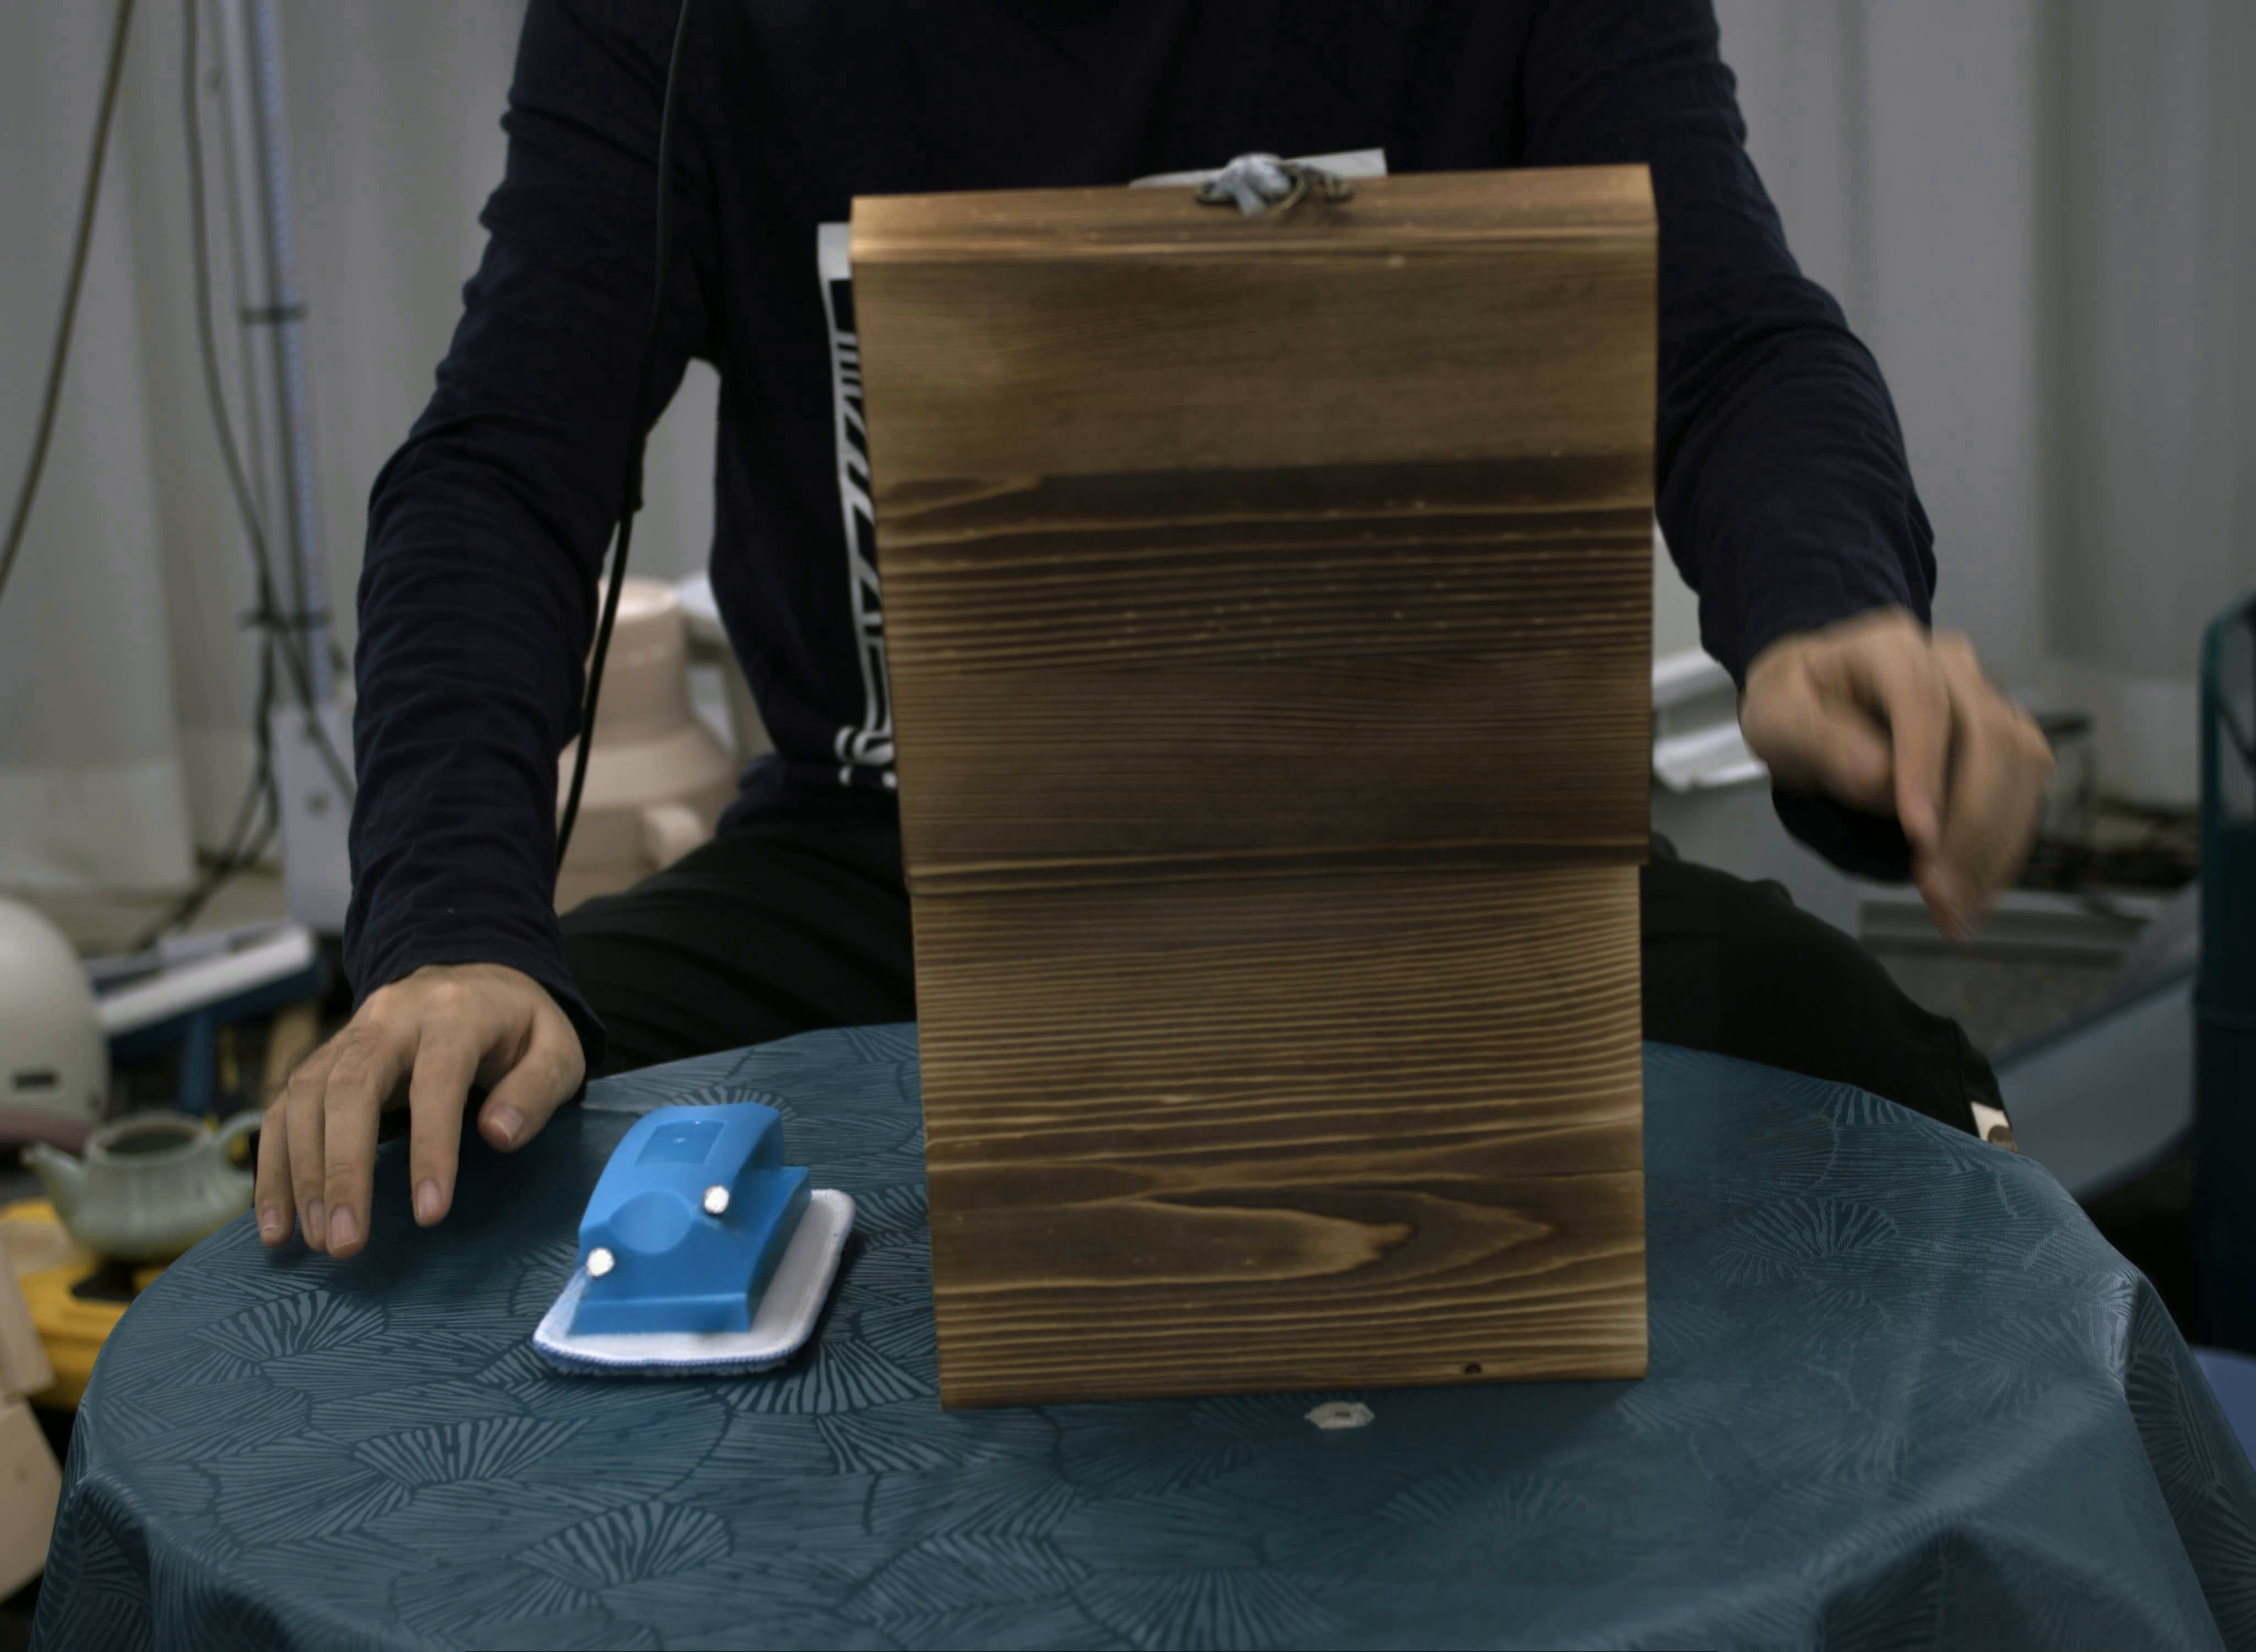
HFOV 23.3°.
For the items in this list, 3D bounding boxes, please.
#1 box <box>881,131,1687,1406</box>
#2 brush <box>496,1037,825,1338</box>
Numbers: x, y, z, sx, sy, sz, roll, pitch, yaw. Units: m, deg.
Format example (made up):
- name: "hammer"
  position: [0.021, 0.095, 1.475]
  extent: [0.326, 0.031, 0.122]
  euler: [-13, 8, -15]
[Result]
- name: "box"
  position: [0.041, -0.026, 1.541]
  extent: [0.208, 0.374, 0.324]
  euler: [-2, 14, 0]
- name: "brush"
  position: [-0.139, 0.104, 1.633]
  extent: [0.083, 0.055, 0.145]
  euler: [1, 20, 5]
